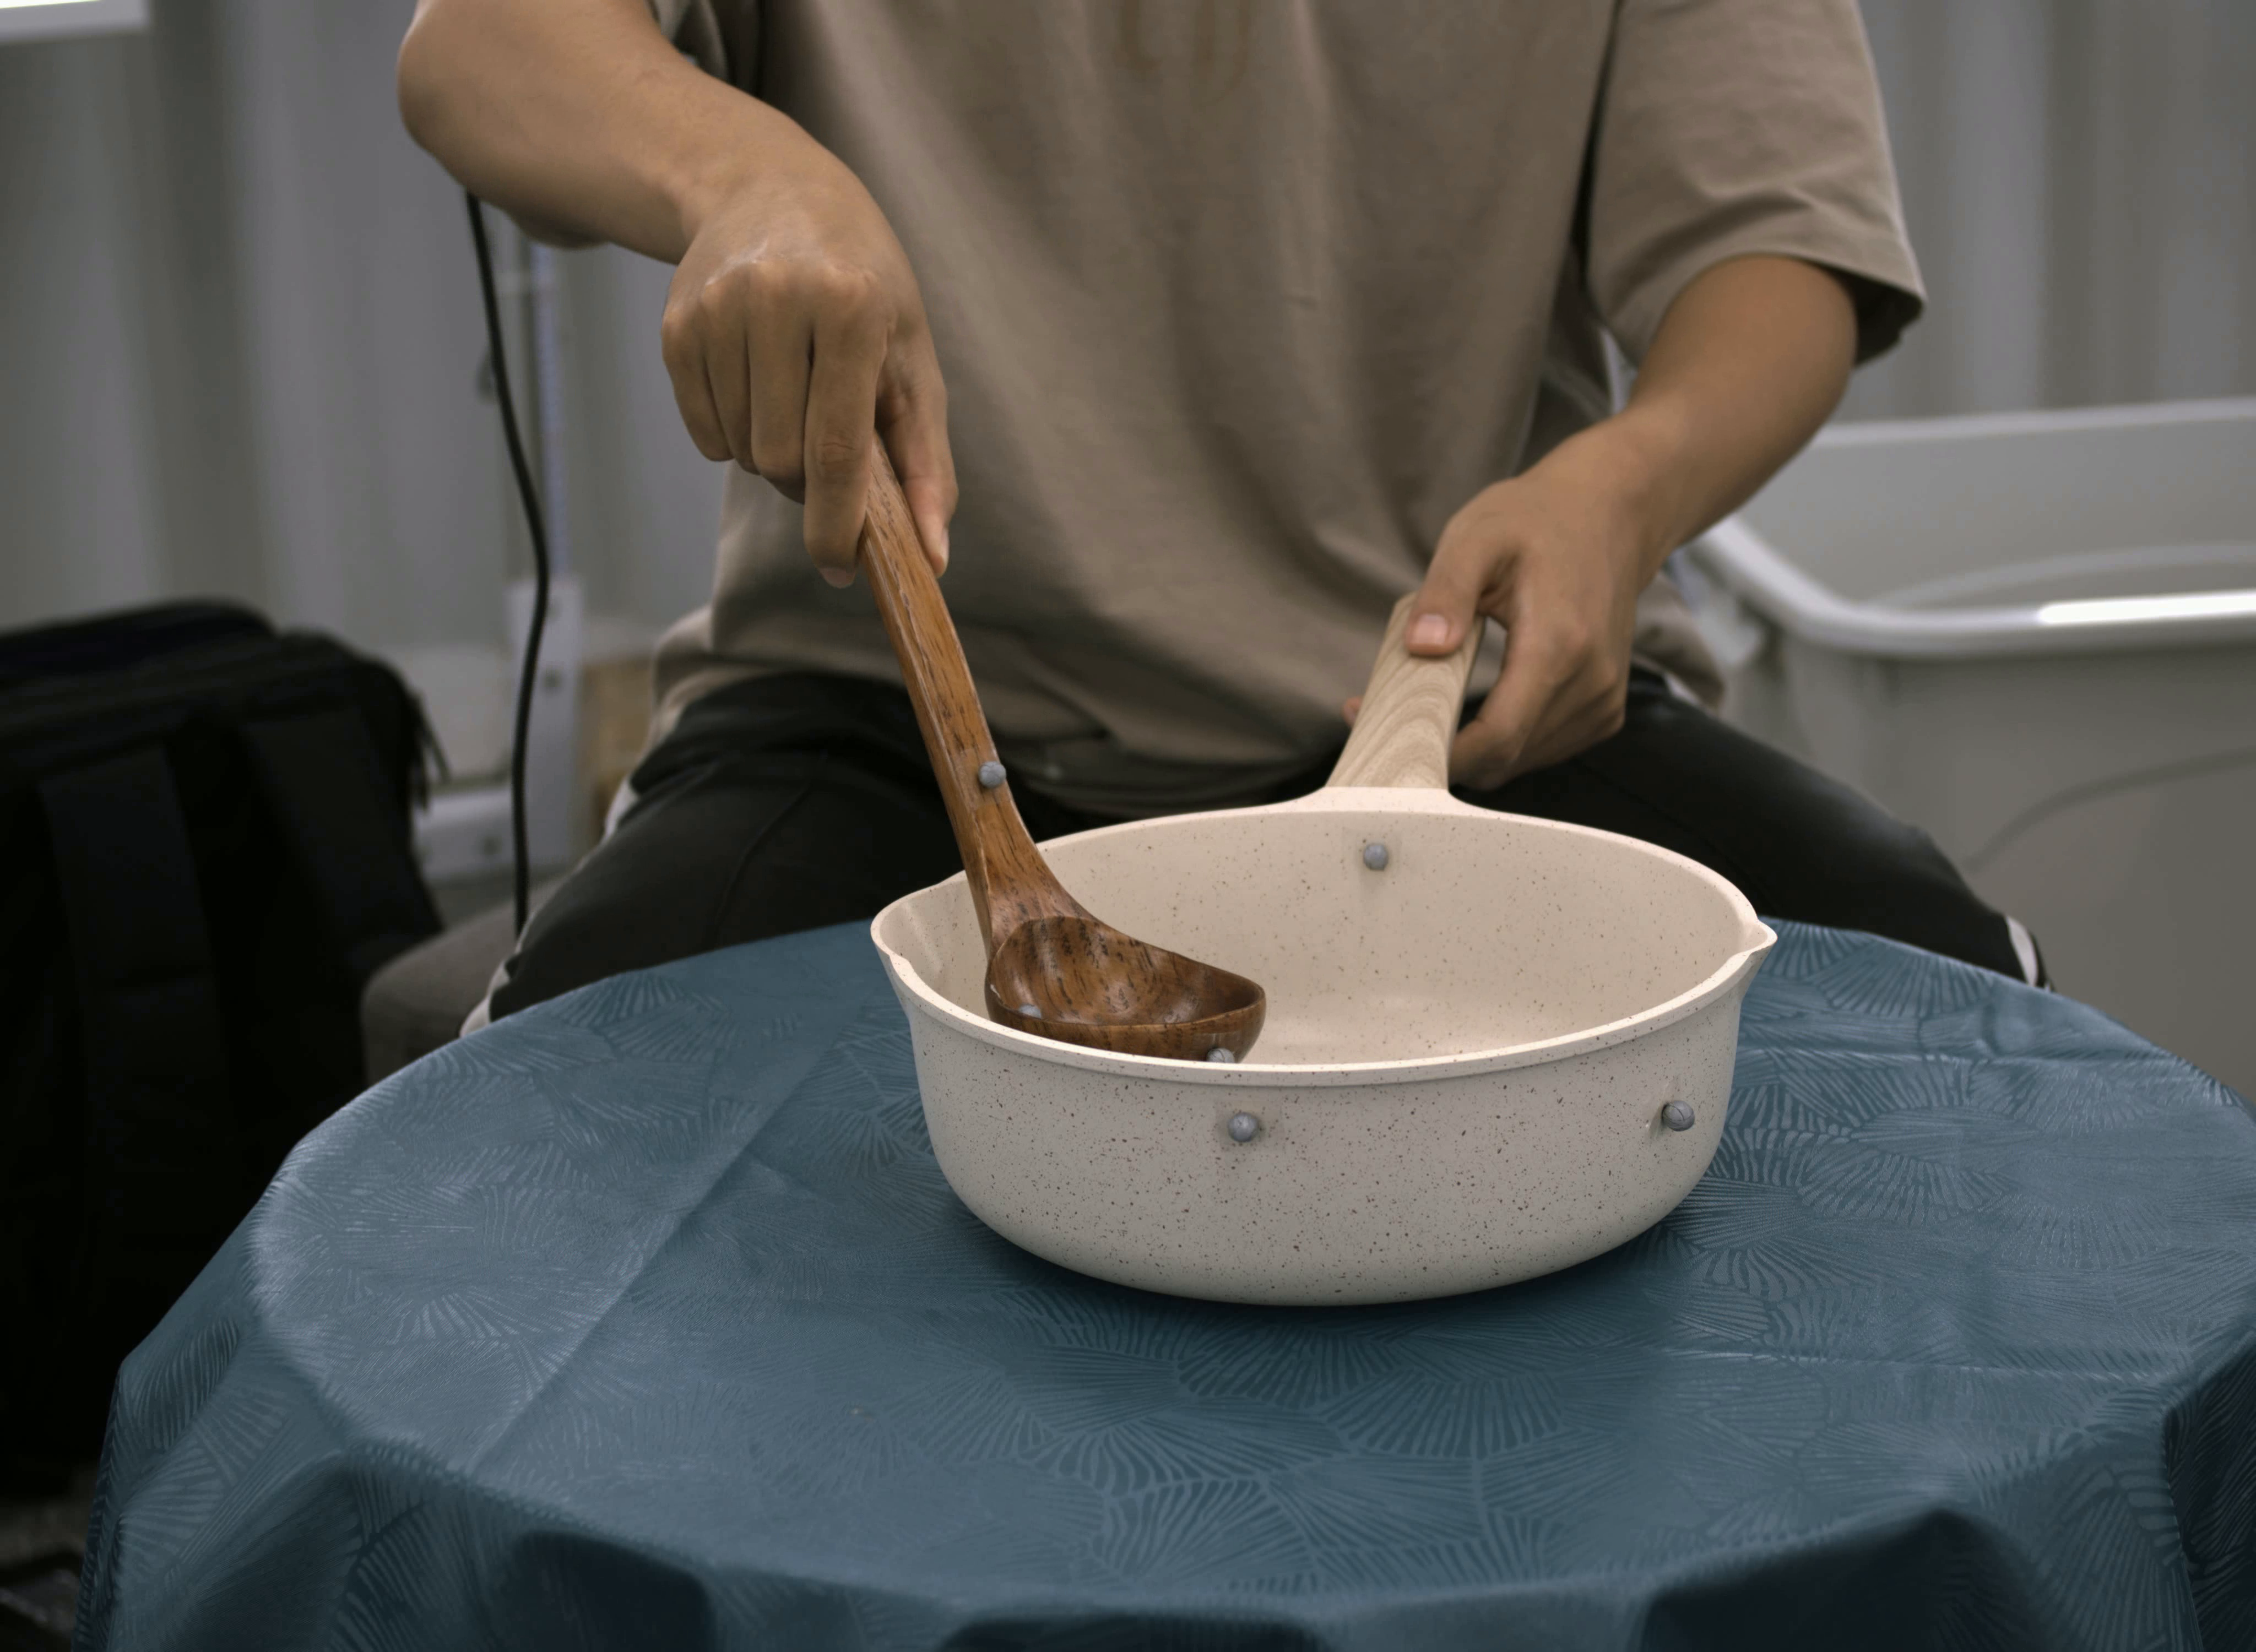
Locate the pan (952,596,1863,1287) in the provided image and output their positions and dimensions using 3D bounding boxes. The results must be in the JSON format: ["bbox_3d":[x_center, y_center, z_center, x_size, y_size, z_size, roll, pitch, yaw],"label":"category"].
[{"bbox_3d":[0.095,0.031,1.620,0.264,0.102,0.433,-1,16,11],"label":"pan"}]

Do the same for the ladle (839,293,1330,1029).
[{"bbox_3d":[-0.019,-0.047,1.549,0.080,0.277,0.077,-4,-22,-41],"label":"ladle"}]
